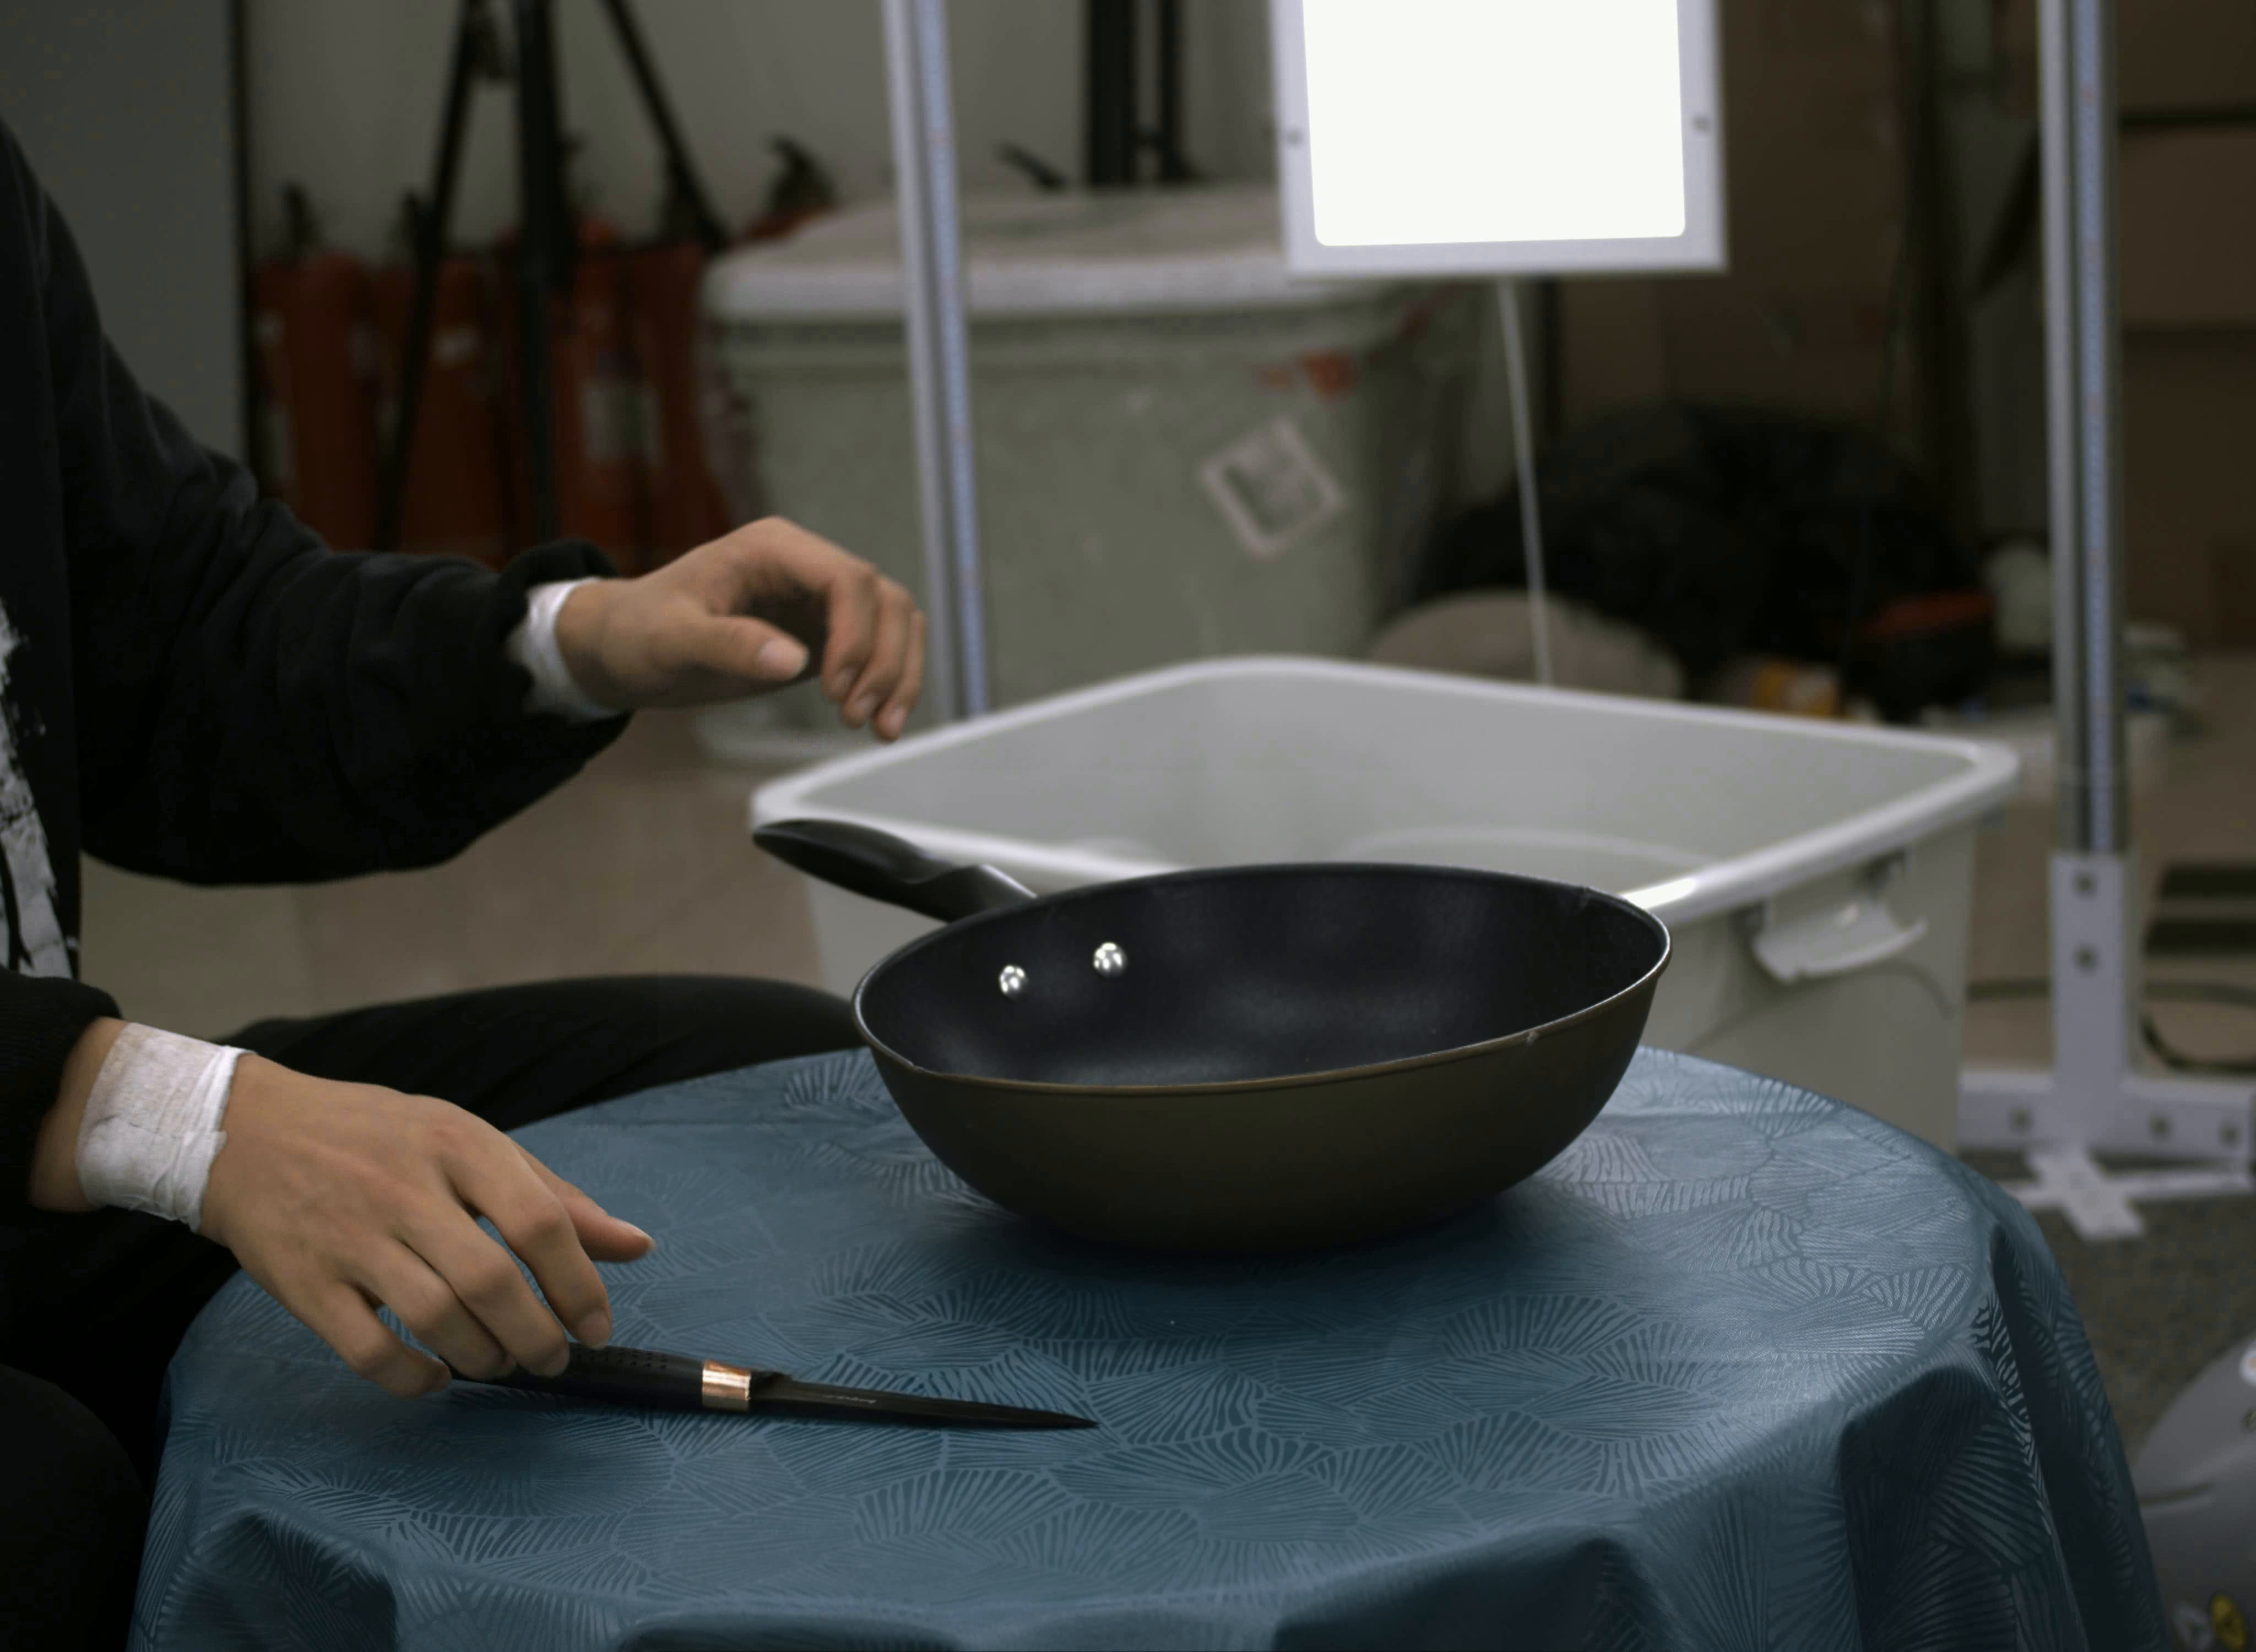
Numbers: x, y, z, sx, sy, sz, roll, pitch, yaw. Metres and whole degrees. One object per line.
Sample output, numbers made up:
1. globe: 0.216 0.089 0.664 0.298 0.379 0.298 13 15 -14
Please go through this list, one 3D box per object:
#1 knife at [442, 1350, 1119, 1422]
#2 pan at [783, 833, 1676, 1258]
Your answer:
1. knife: -0.110 0.177 1.719 0.229 0.017 0.026 2 0 23
2. pan: -0.002 0.073 1.951 0.281 0.087 0.472 -13 15 -31
